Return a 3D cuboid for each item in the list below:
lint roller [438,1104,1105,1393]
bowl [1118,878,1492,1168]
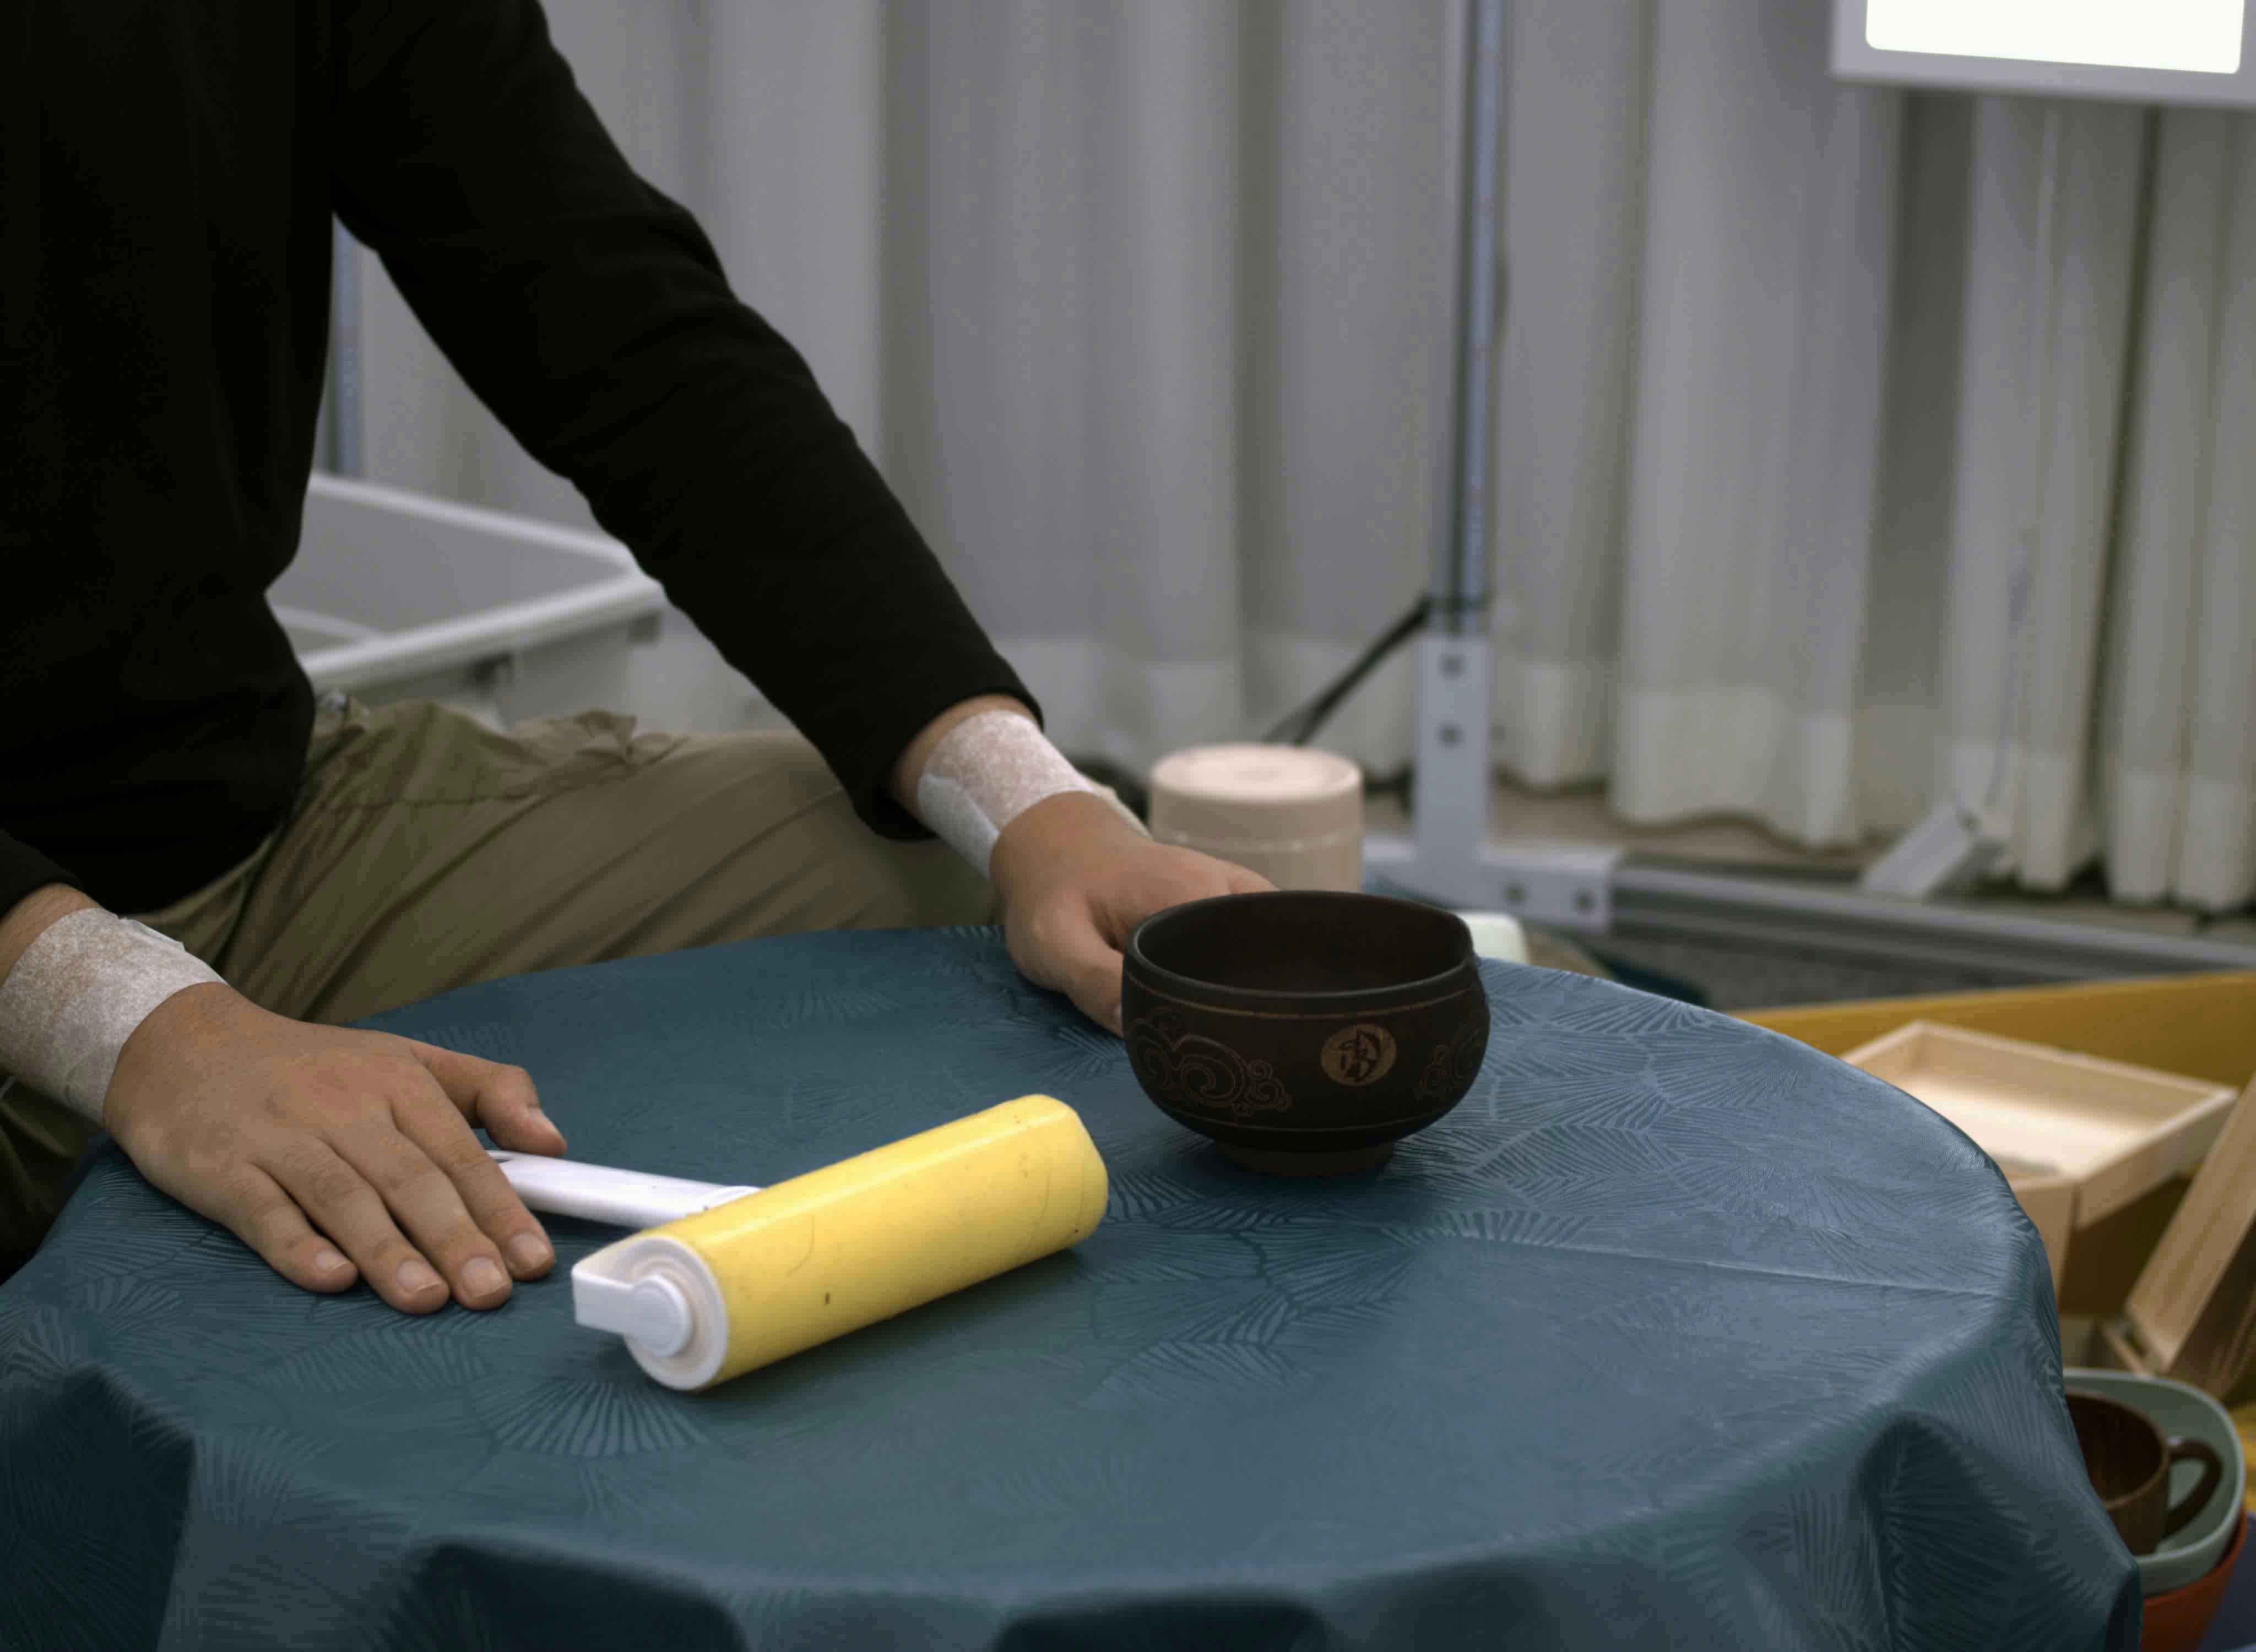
[{"bbox_3d":[-0.131,0.104,1.549,0.189,0.052,0.175,17,22,35],"label":"lint roller"},{"bbox_3d":[0.055,0.065,1.651,0.117,0.070,0.117,2,16,0],"label":"bowl"}]
